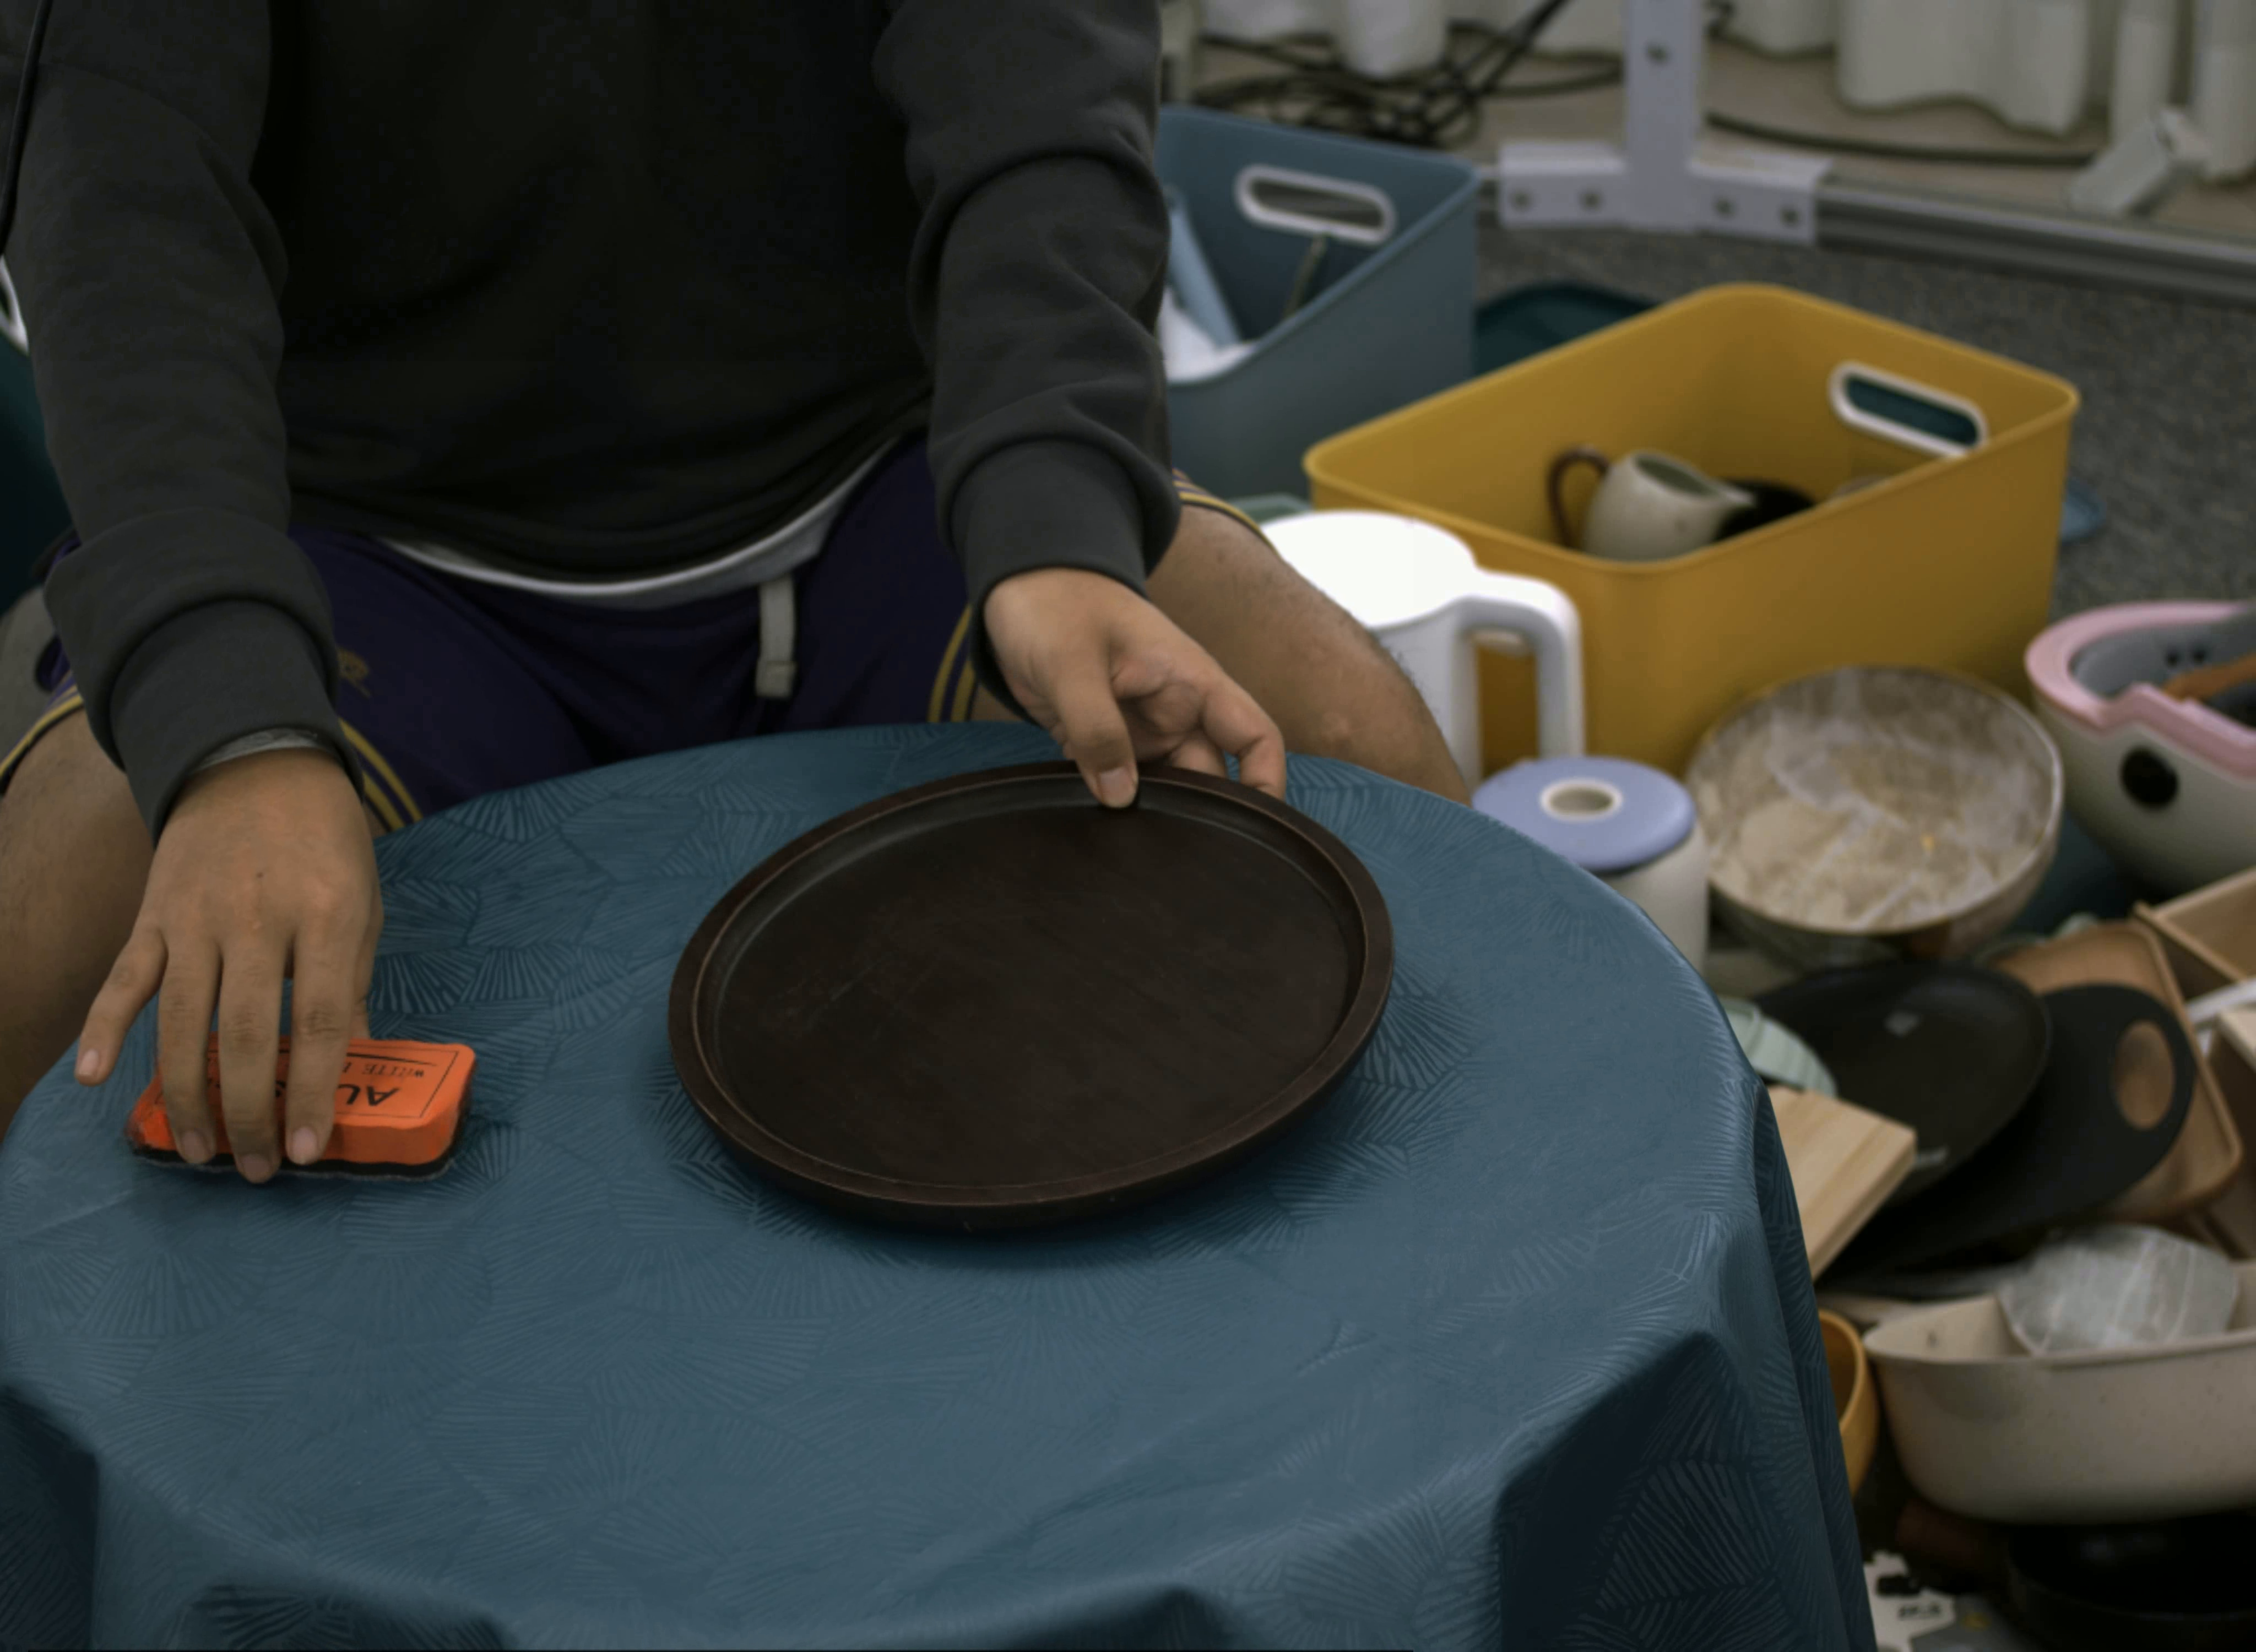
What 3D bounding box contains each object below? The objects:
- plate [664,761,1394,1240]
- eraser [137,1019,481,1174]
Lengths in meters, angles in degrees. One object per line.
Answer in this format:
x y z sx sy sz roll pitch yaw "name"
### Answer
-0.033 0.058 1.931 0.253 0.028 0.259 -7 34 5 "plate"
-0.278 0.093 1.912 0.107 0.022 0.060 2 31 11 "eraser"
